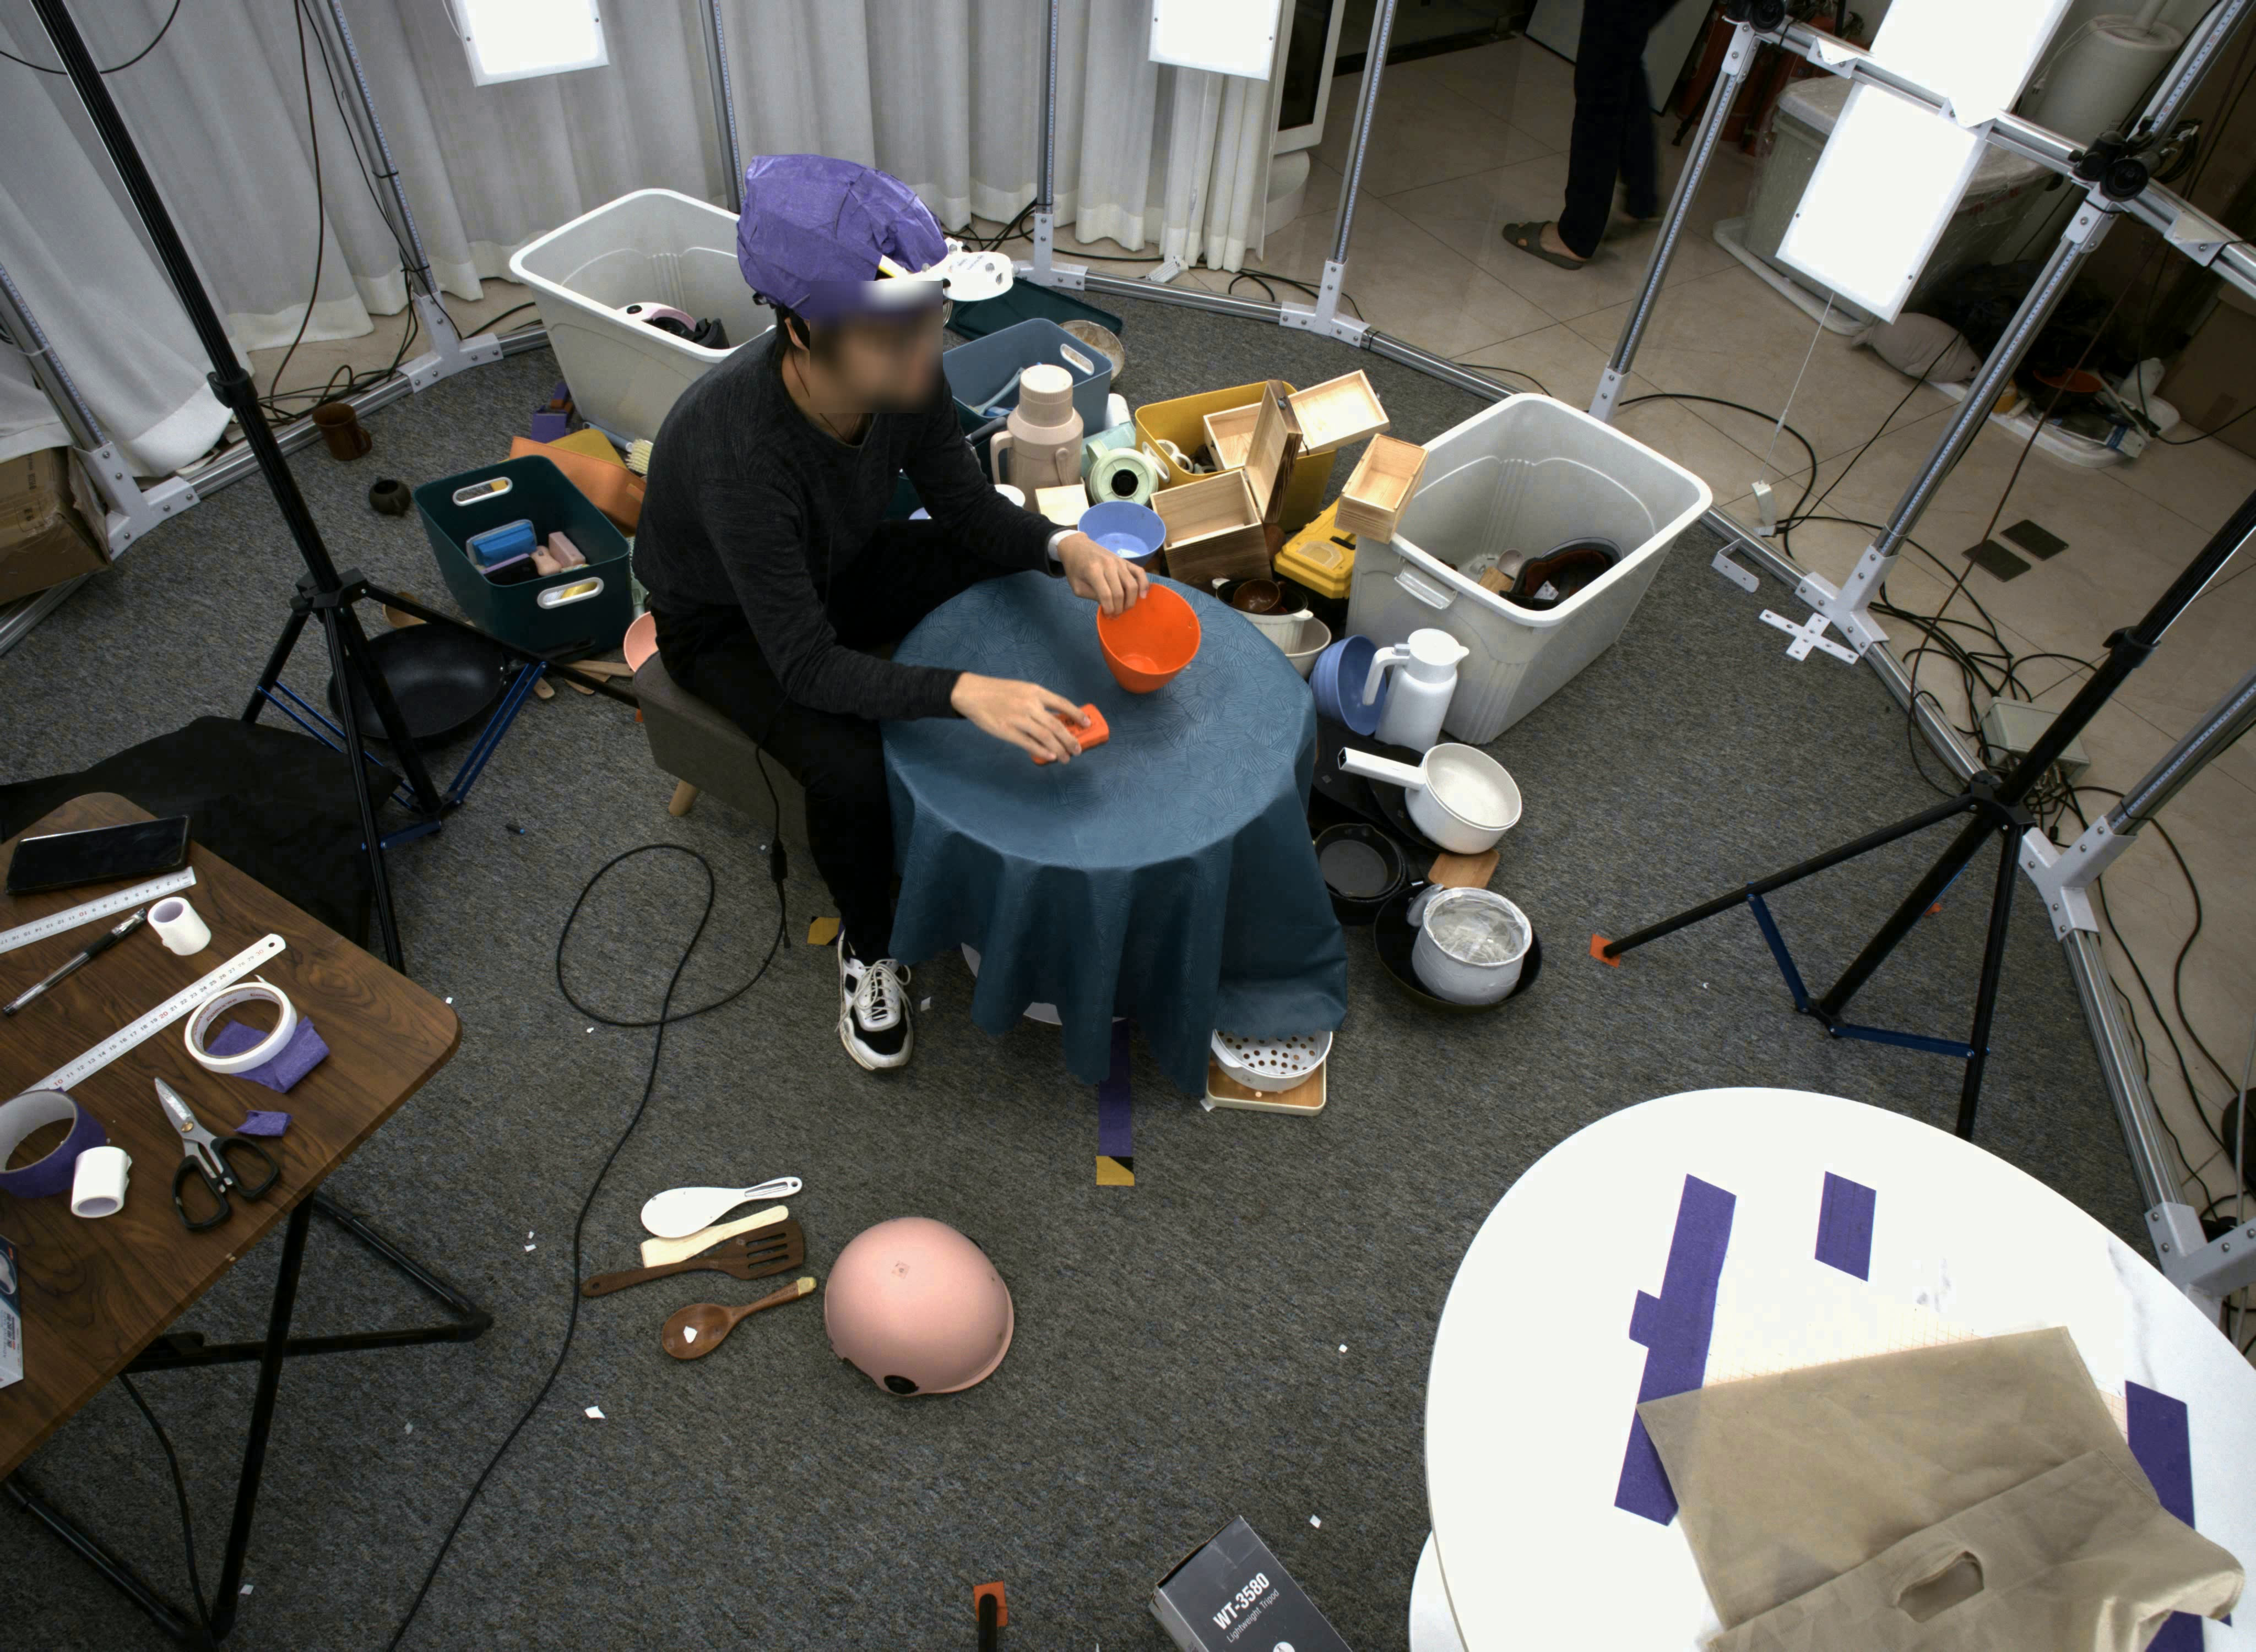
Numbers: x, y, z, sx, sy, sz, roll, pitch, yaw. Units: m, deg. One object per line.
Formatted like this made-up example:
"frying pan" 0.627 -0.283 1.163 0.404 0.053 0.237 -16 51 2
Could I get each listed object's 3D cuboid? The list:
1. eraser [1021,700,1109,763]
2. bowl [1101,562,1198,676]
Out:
"eraser" -0.082 -0.124 1.672 0.108 0.022 0.060 -21 57 -19
"bowl" 0.017 -0.273 1.769 0.146 0.104 0.151 21 55 -35
